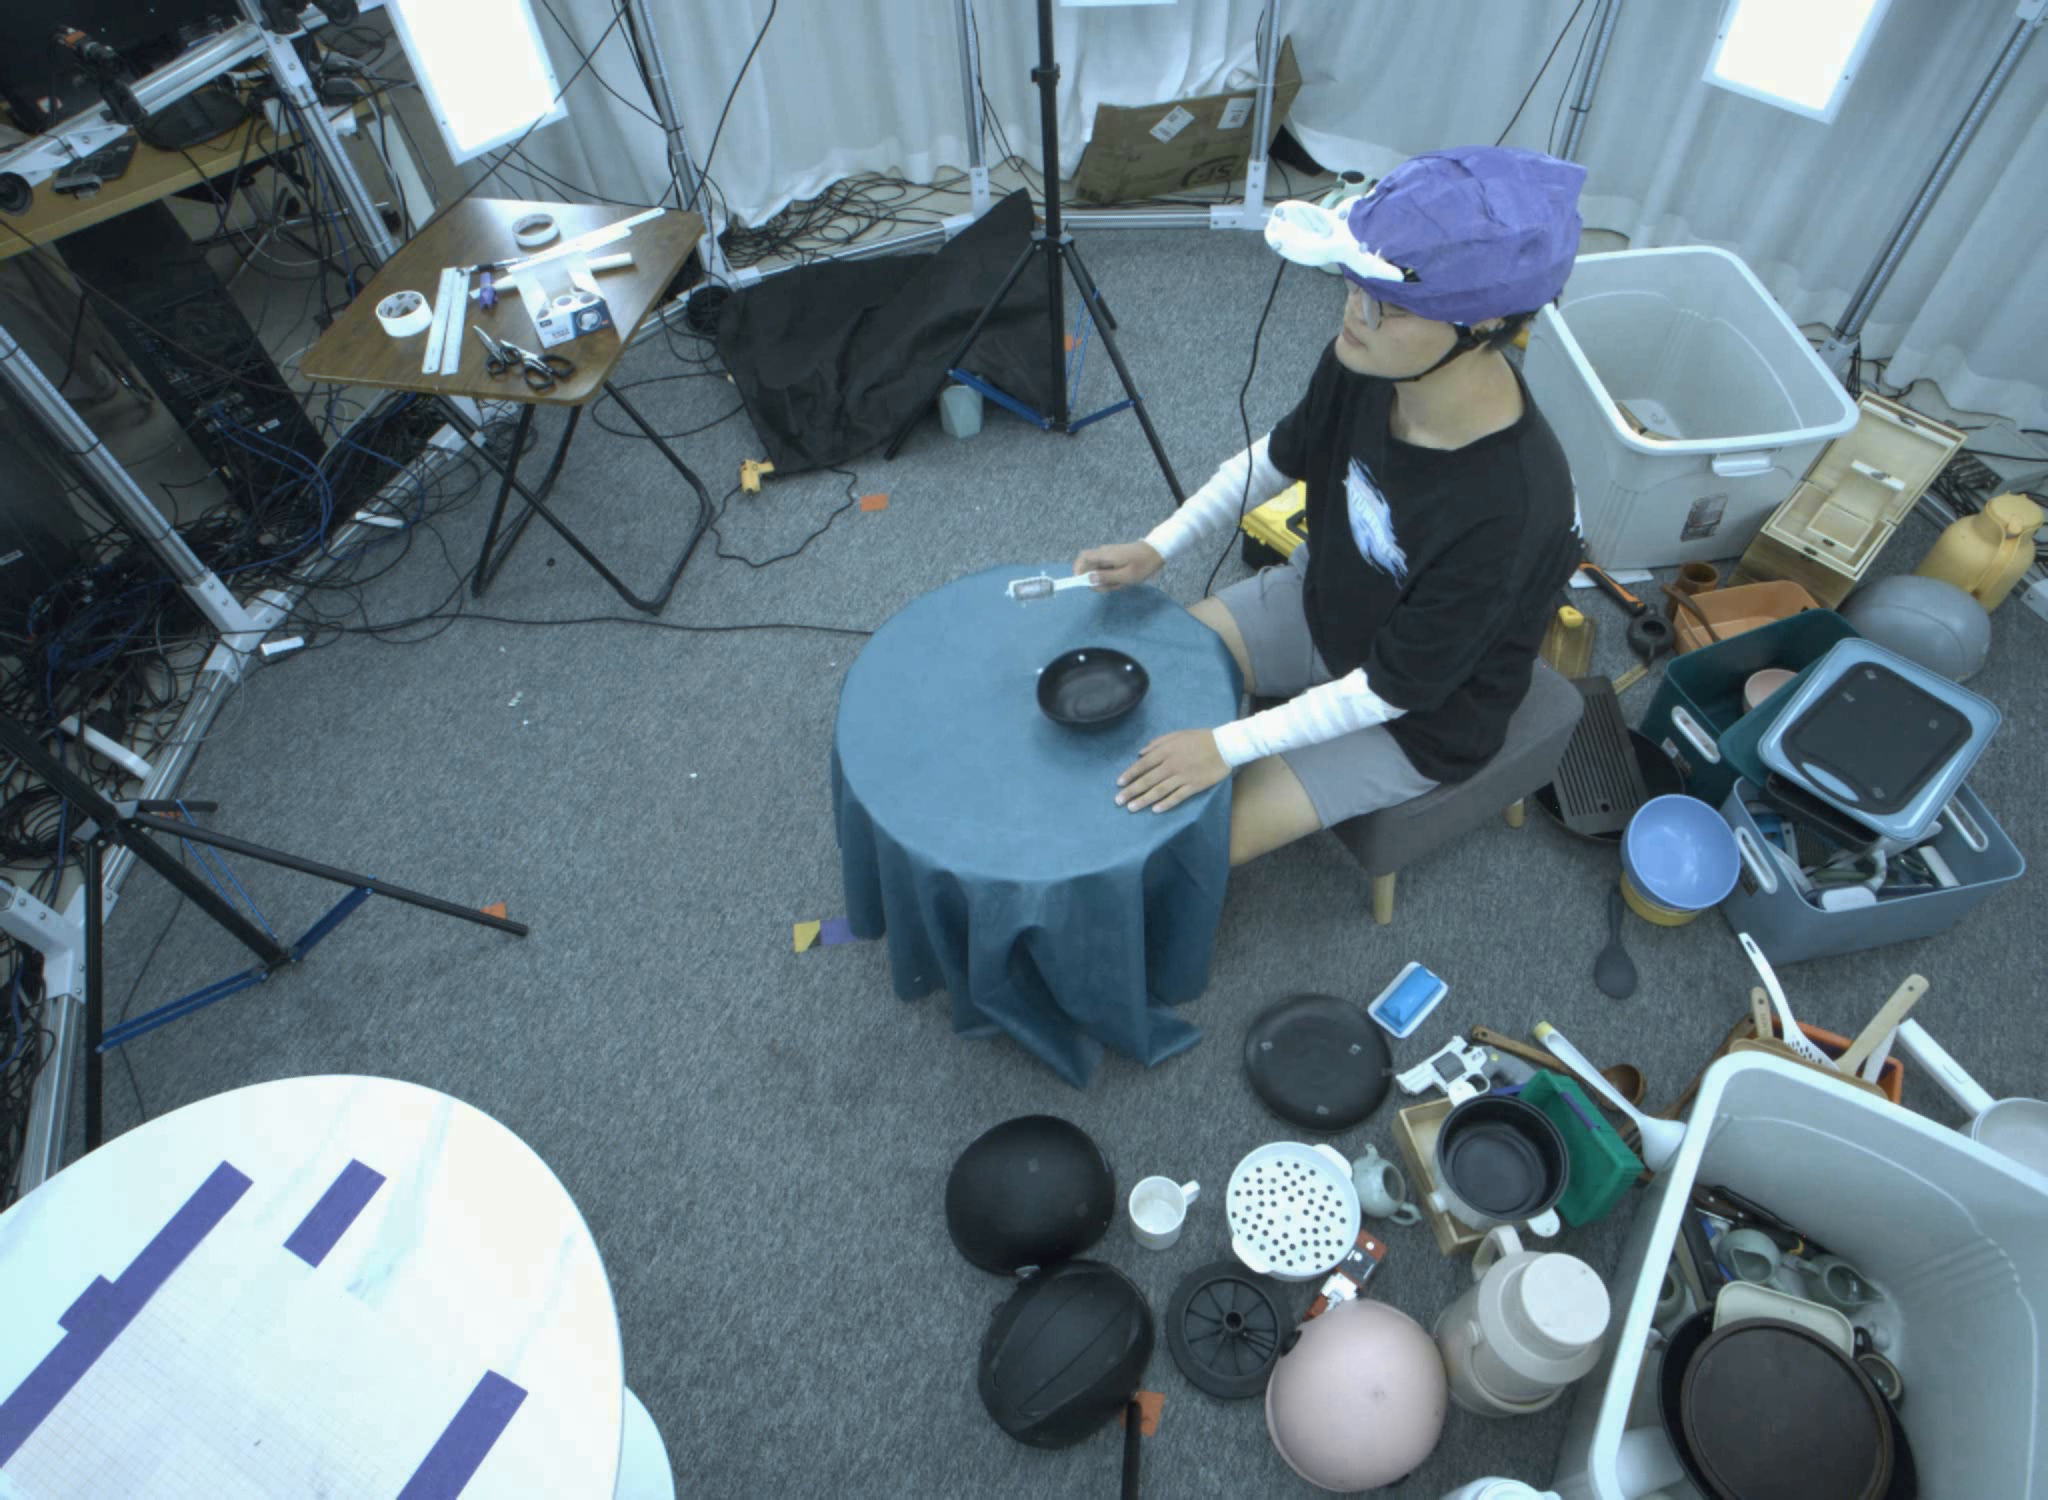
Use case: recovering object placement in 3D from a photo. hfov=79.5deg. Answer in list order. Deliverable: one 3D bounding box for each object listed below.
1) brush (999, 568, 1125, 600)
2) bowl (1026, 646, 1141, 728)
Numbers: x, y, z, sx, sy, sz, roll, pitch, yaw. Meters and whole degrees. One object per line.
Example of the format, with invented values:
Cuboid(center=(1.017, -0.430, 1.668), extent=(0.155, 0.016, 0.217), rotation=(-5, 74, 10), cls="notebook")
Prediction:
Cuboid(center=(0.067, -0.254, 1.849), extent=(0.248, 0.034, 0.049), rotation=(-12, 9, -34), cls="brush")
Cuboid(center=(0.086, -0.082, 1.795), extent=(0.171, 0.067, 0.135), rotation=(-18, 55, -13), cls="bowl")
